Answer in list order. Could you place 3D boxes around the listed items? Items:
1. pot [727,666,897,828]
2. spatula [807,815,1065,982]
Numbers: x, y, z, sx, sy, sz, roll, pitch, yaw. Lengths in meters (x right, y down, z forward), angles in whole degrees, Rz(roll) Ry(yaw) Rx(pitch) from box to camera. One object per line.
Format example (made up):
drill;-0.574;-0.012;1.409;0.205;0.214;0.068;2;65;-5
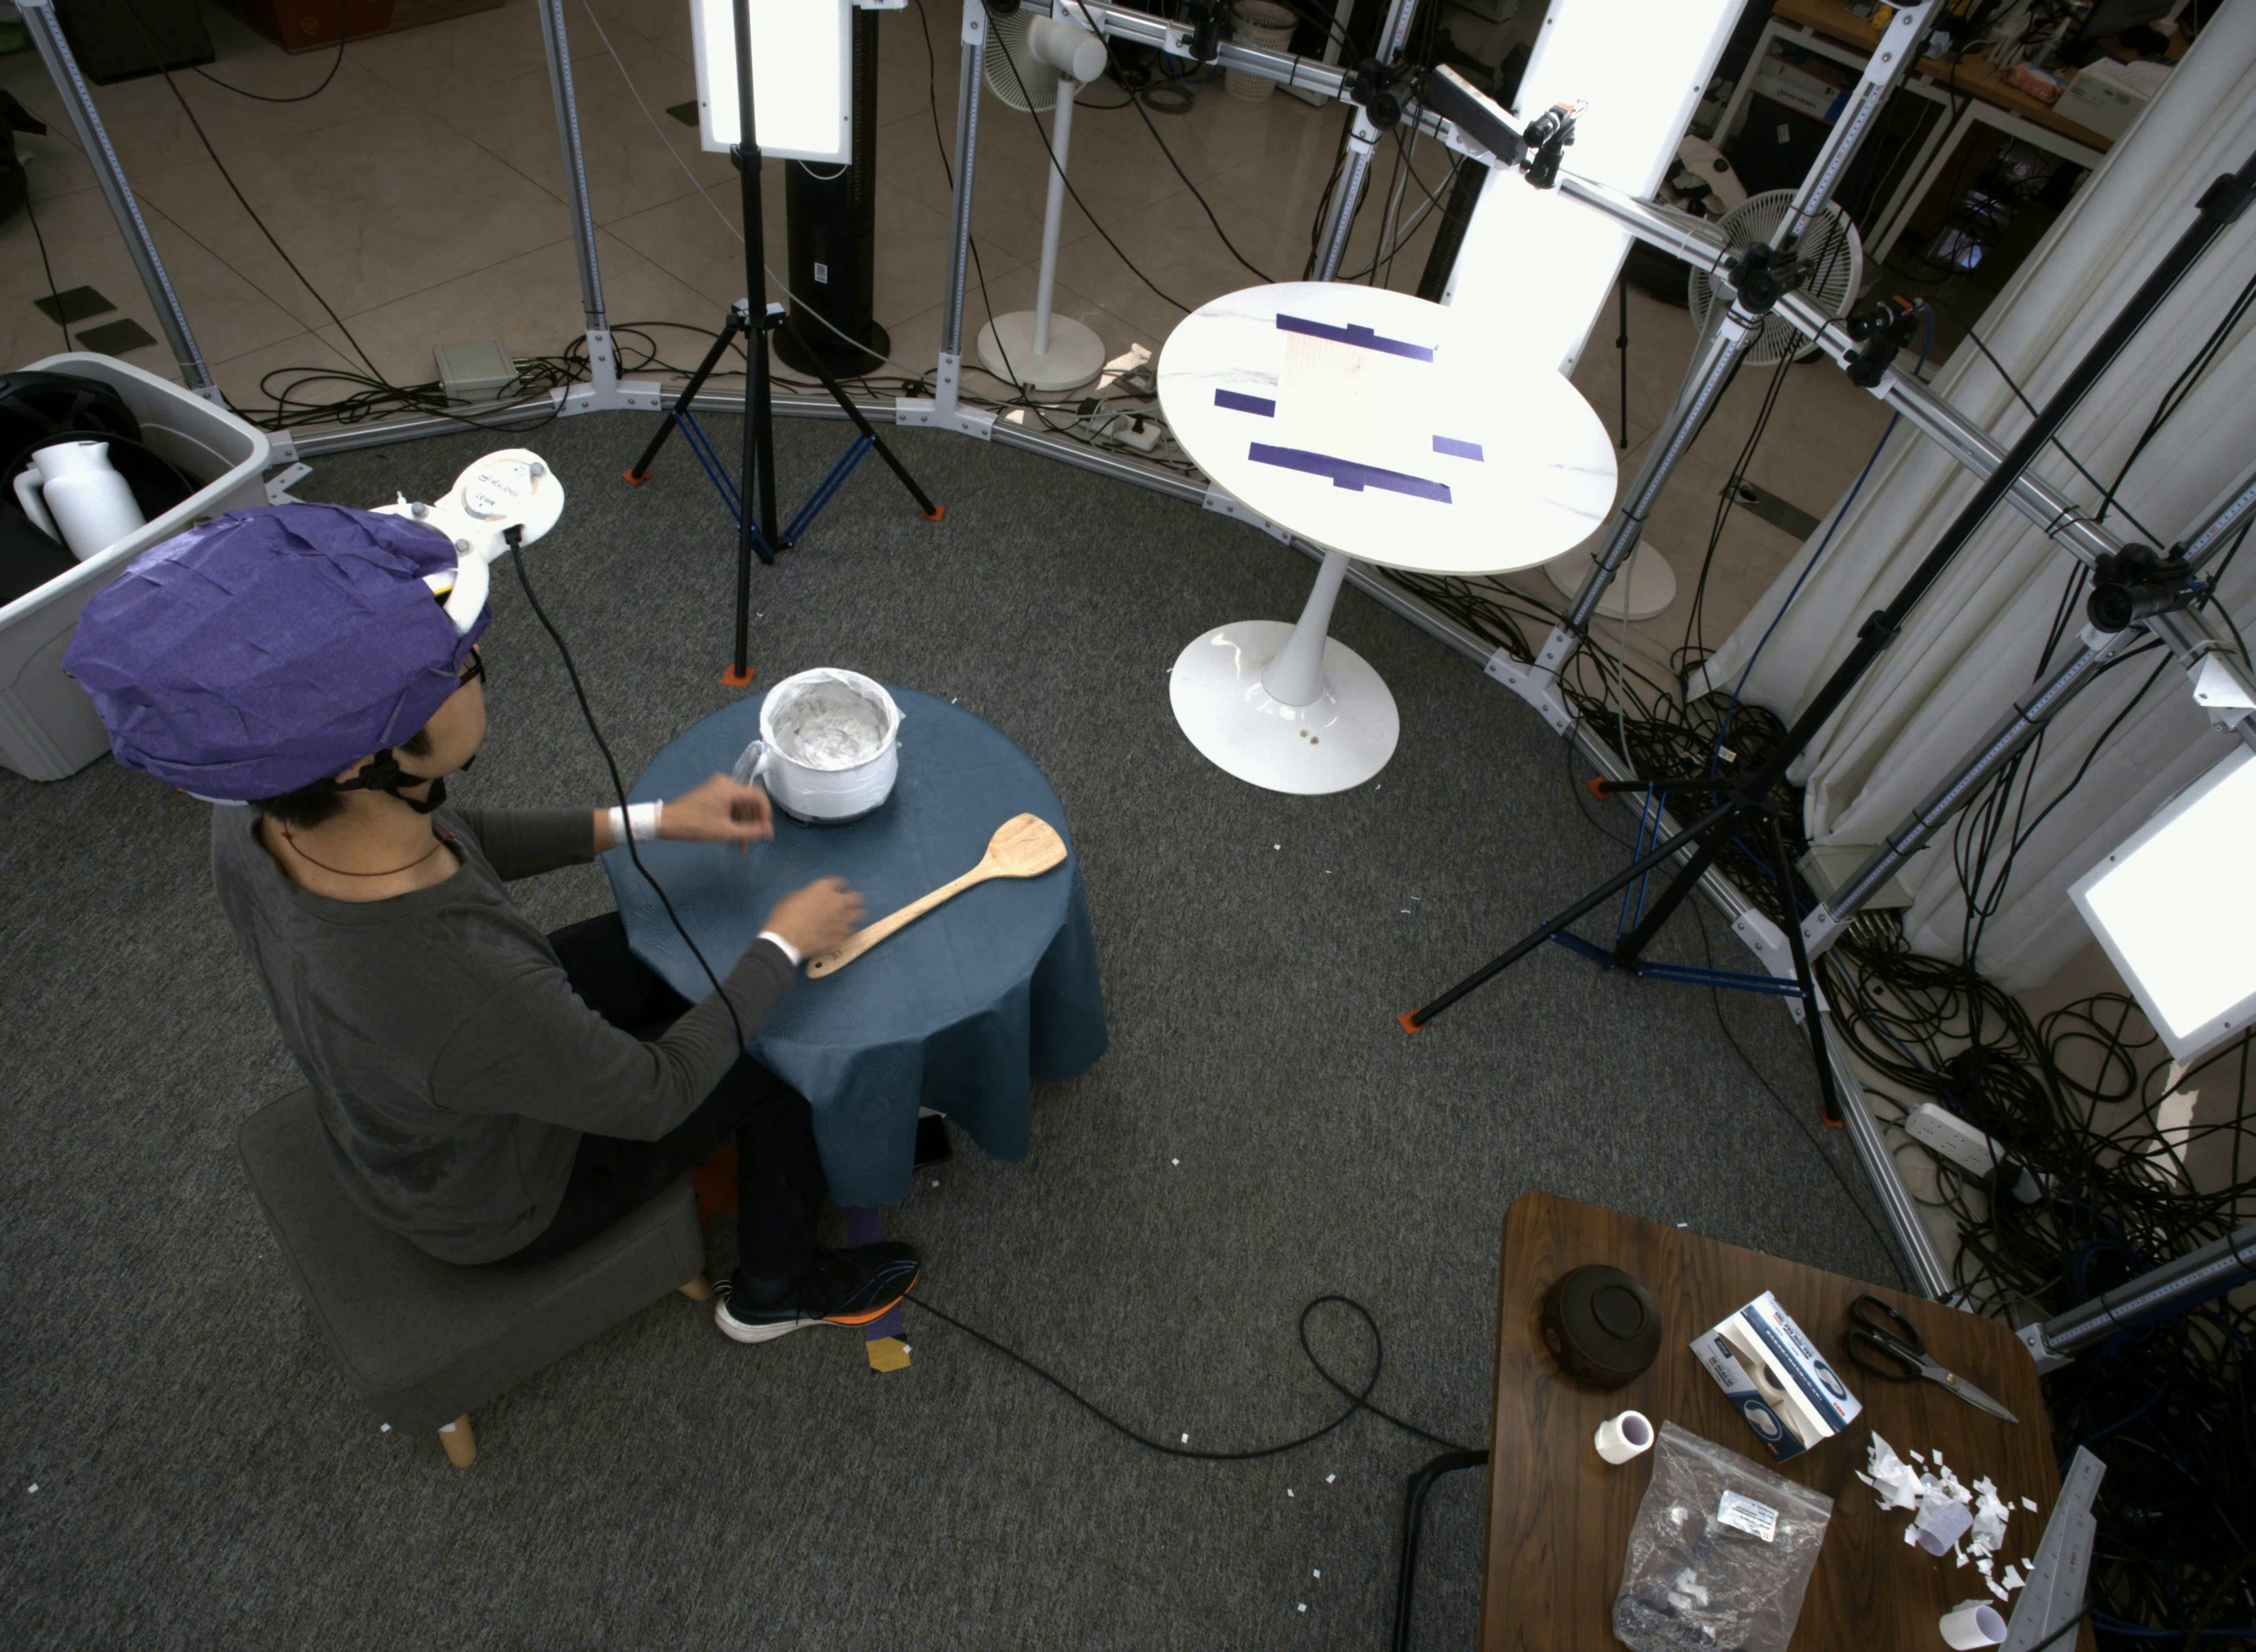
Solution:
pot;-0.421;-0.091;1.714;0.235;0.139;0.174;-27;63;-30
spatula;-0.248;0.097;1.697;0.392;0.019;0.093;-32;65;-32
